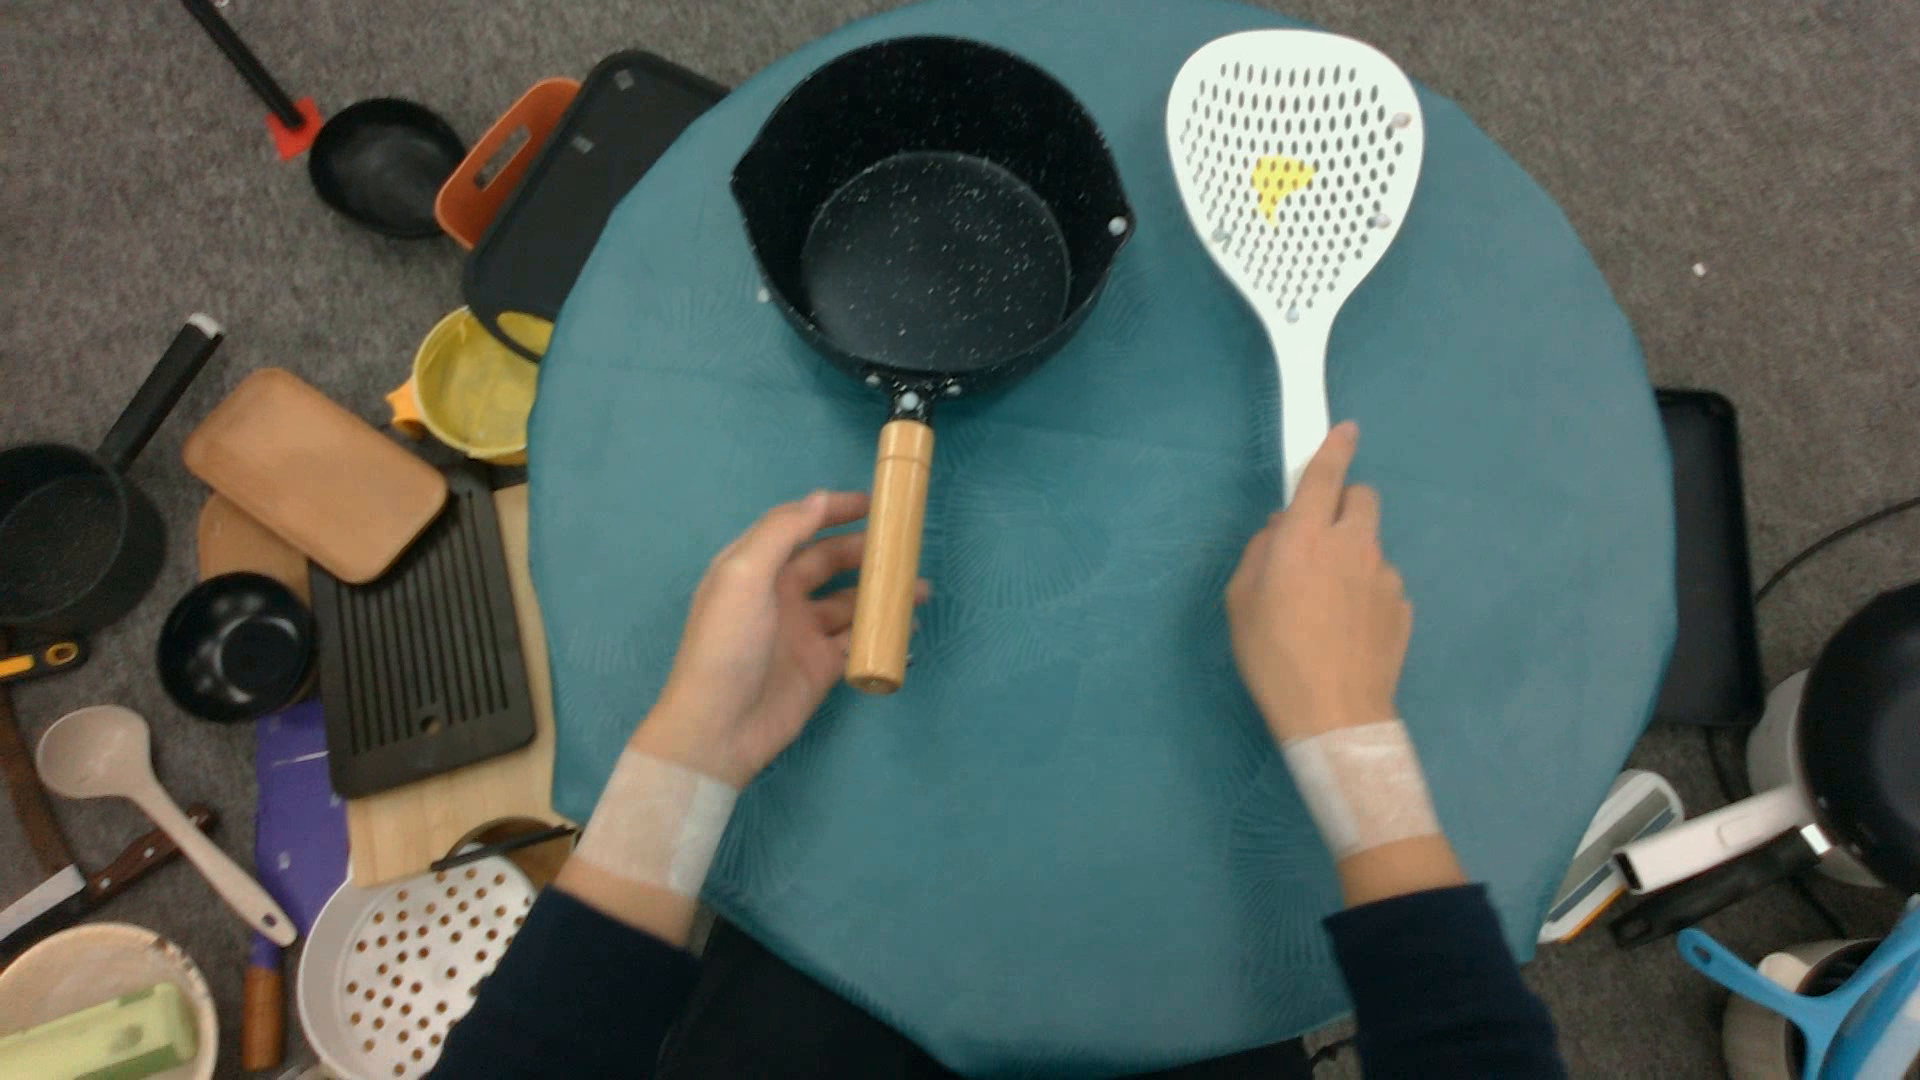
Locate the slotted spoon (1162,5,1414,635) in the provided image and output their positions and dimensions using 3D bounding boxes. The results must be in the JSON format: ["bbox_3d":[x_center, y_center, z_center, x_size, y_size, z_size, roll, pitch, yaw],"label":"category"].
[{"bbox_3d":[0.173,-0.124,0.709,0.137,0.050,0.349,2,67,-5],"label":"slotted spoon"}]

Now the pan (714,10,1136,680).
[{"bbox_3d":[-0.024,-0.093,0.677,0.207,0.108,0.343,5,74,0],"label":"pan"}]
